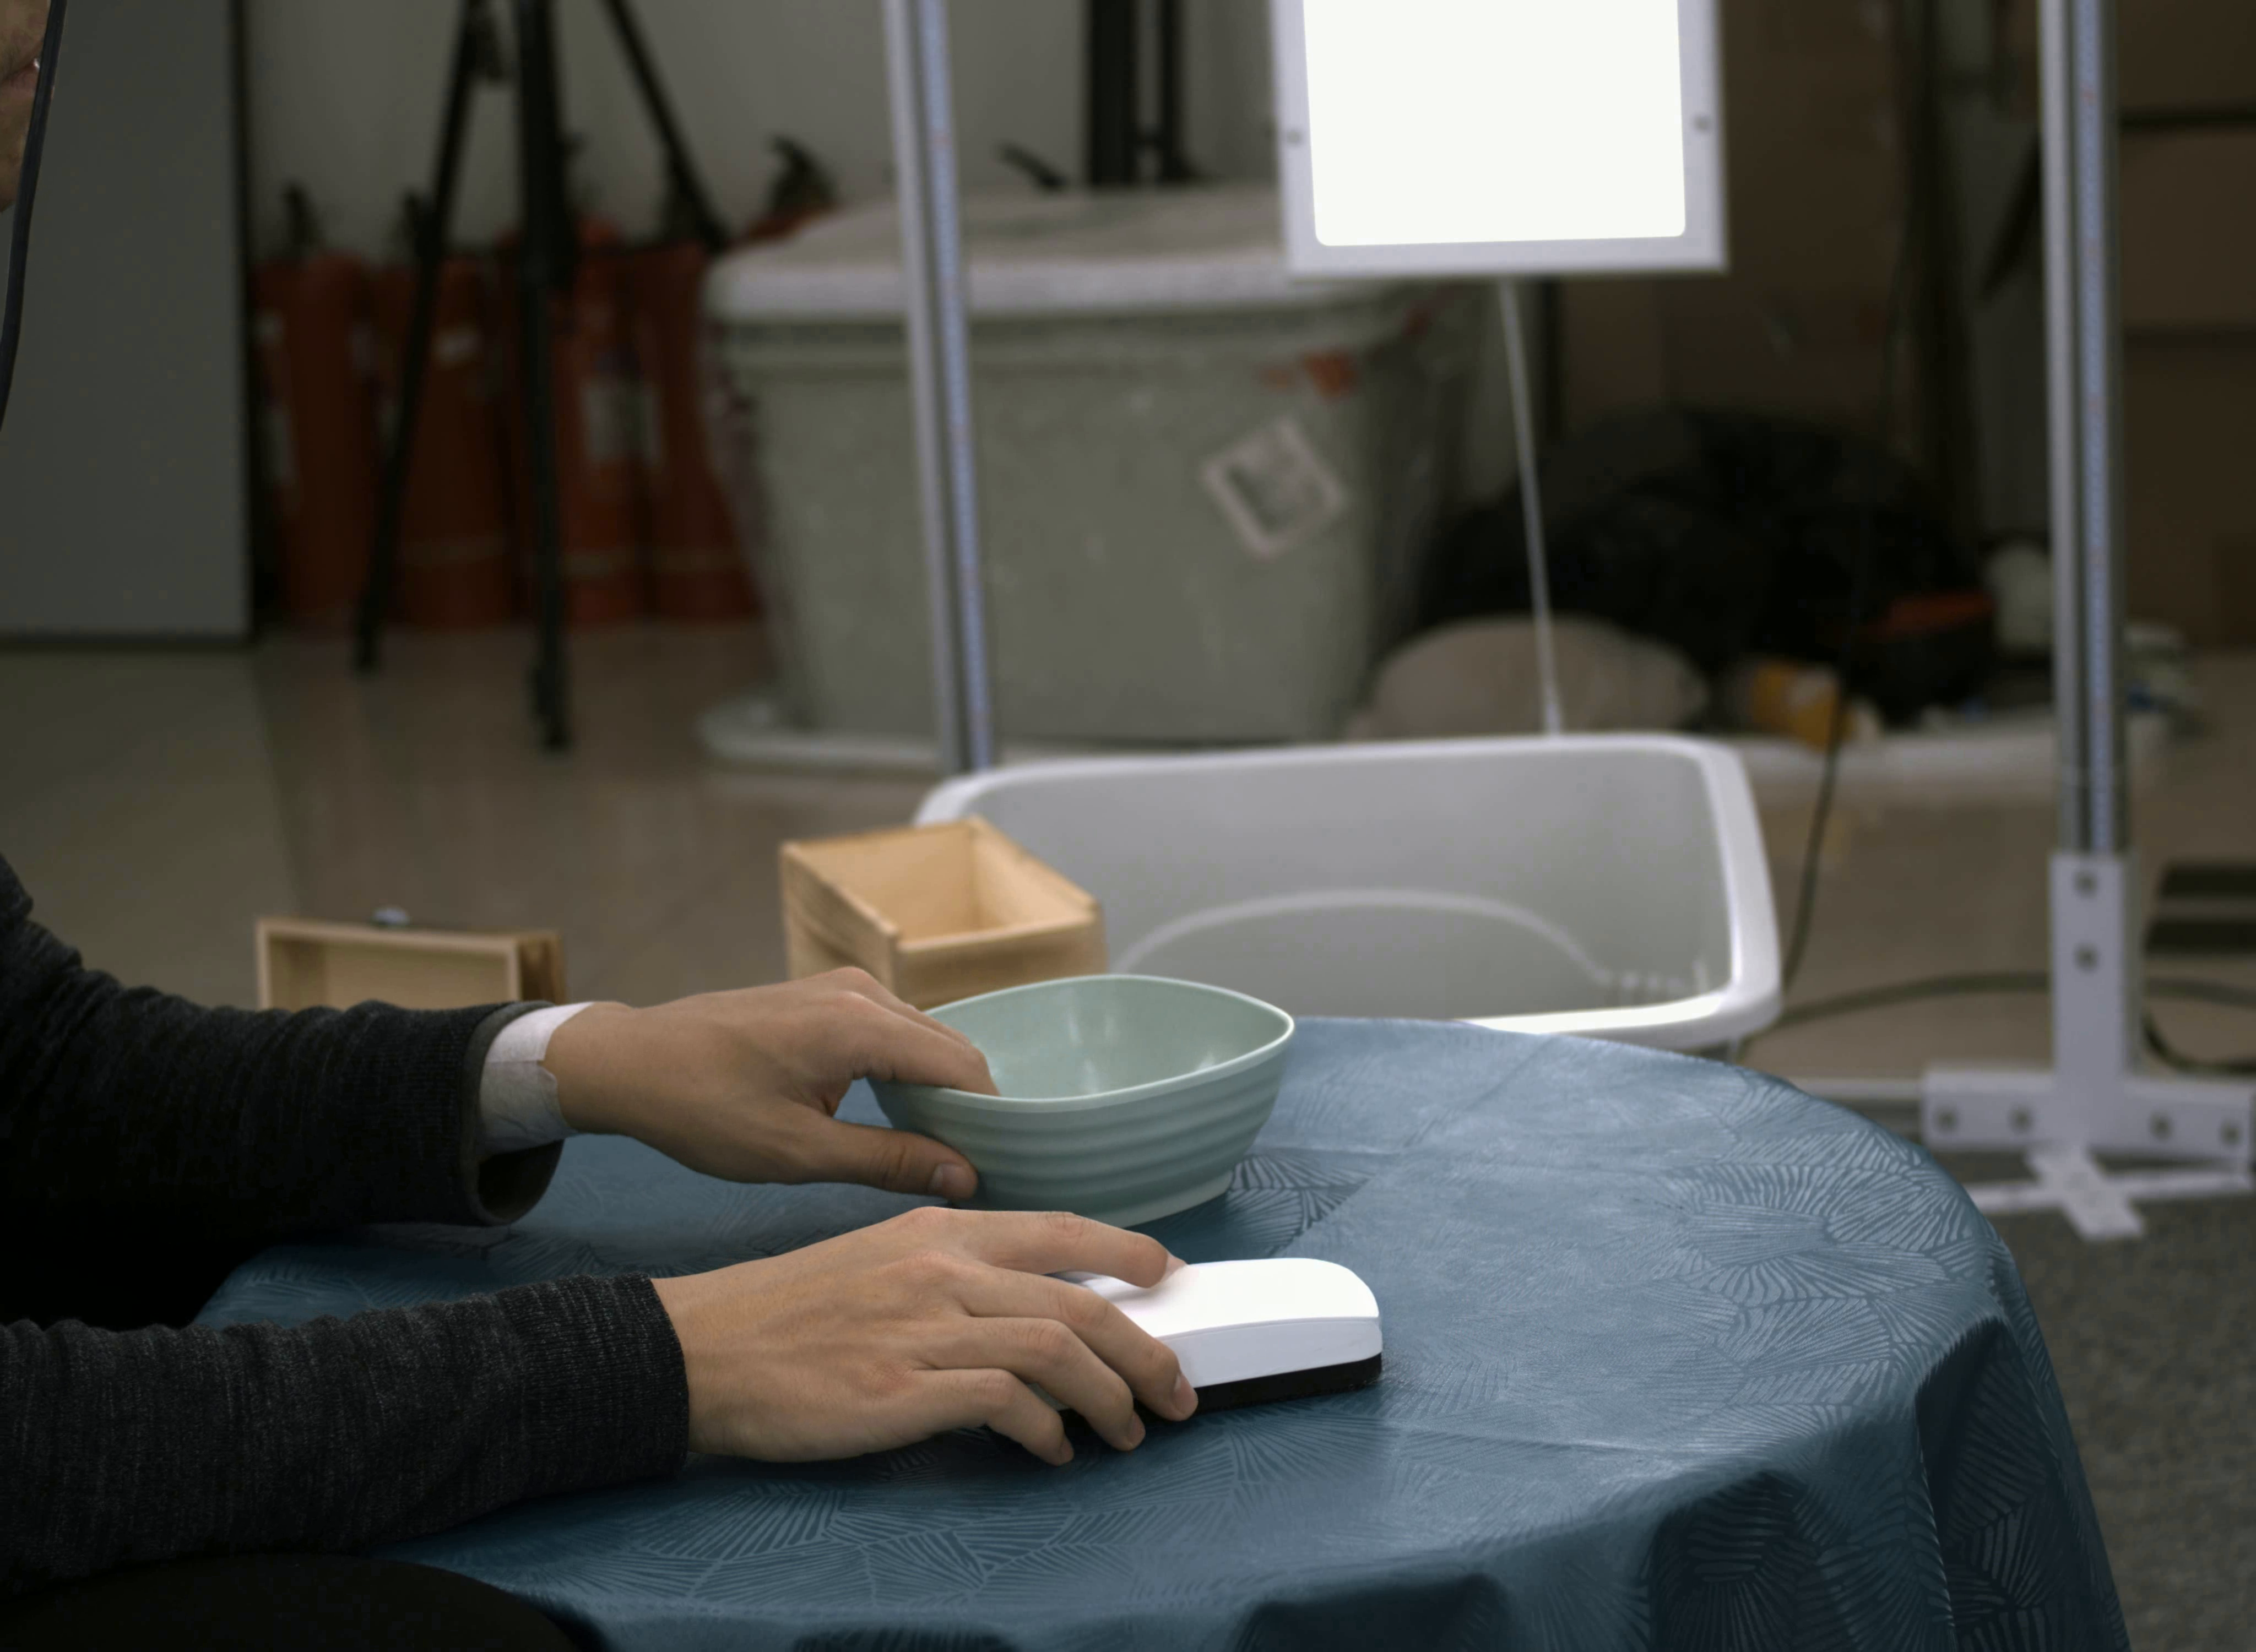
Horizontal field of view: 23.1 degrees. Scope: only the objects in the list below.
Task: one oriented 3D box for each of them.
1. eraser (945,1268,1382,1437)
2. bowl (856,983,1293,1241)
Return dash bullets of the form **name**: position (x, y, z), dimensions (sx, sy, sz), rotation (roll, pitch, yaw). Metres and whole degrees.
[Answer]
- **eraser**: position (0.011, 0.159, 1.696), dimensions (0.129, 0.034, 0.064), rotation (-6, 12, -12)
- **bowl**: position (-0.017, 0.101, 1.894), dimensions (0.151, 0.059, 0.151), rotation (-4, 13, -1)
